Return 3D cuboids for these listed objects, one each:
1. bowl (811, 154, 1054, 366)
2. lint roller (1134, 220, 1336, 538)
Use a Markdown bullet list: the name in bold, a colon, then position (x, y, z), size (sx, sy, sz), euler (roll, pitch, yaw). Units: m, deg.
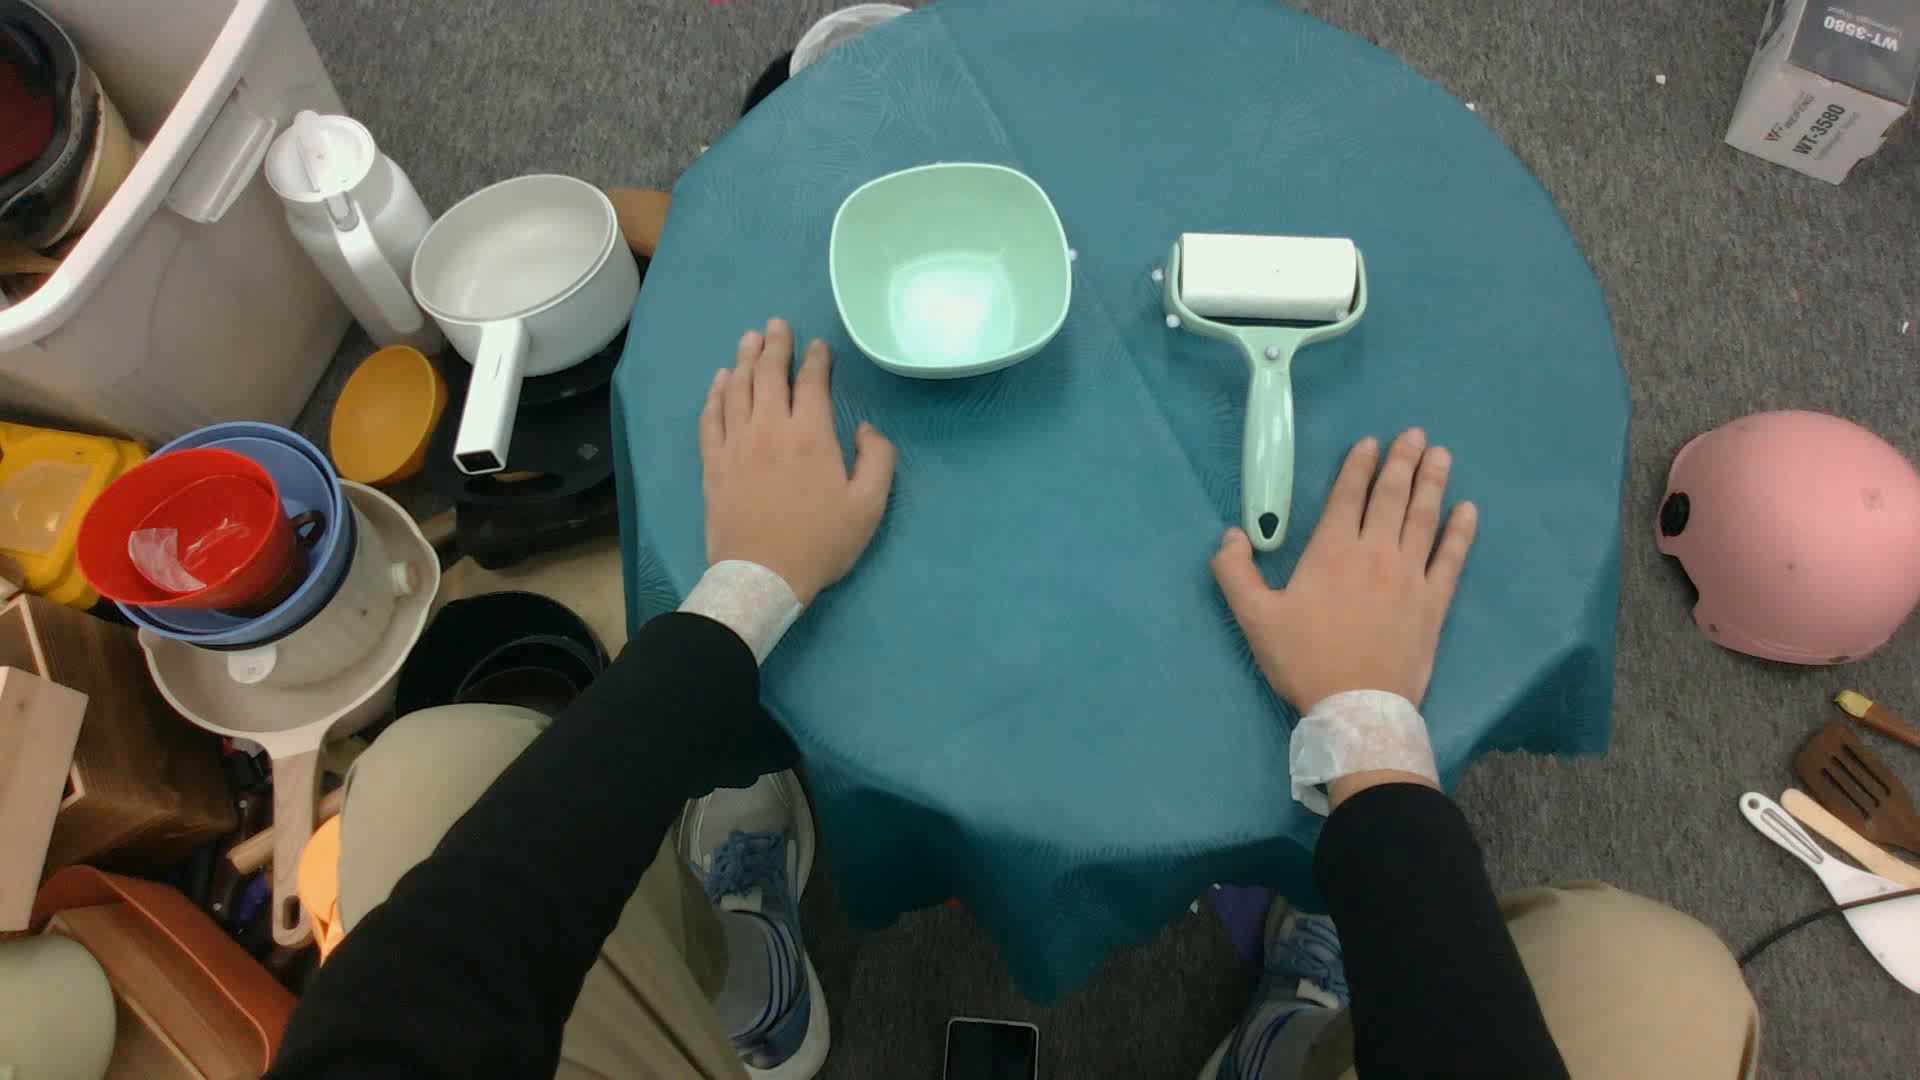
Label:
- **bowl**: position (-0.016, -0.156, 0.817), size (0.151, 0.058, 0.152), euler (0, 66, -1)
- **lint roller**: position (0.161, -0.099, 0.801), size (0.116, 0.048, 0.198), euler (2, 69, -1)
